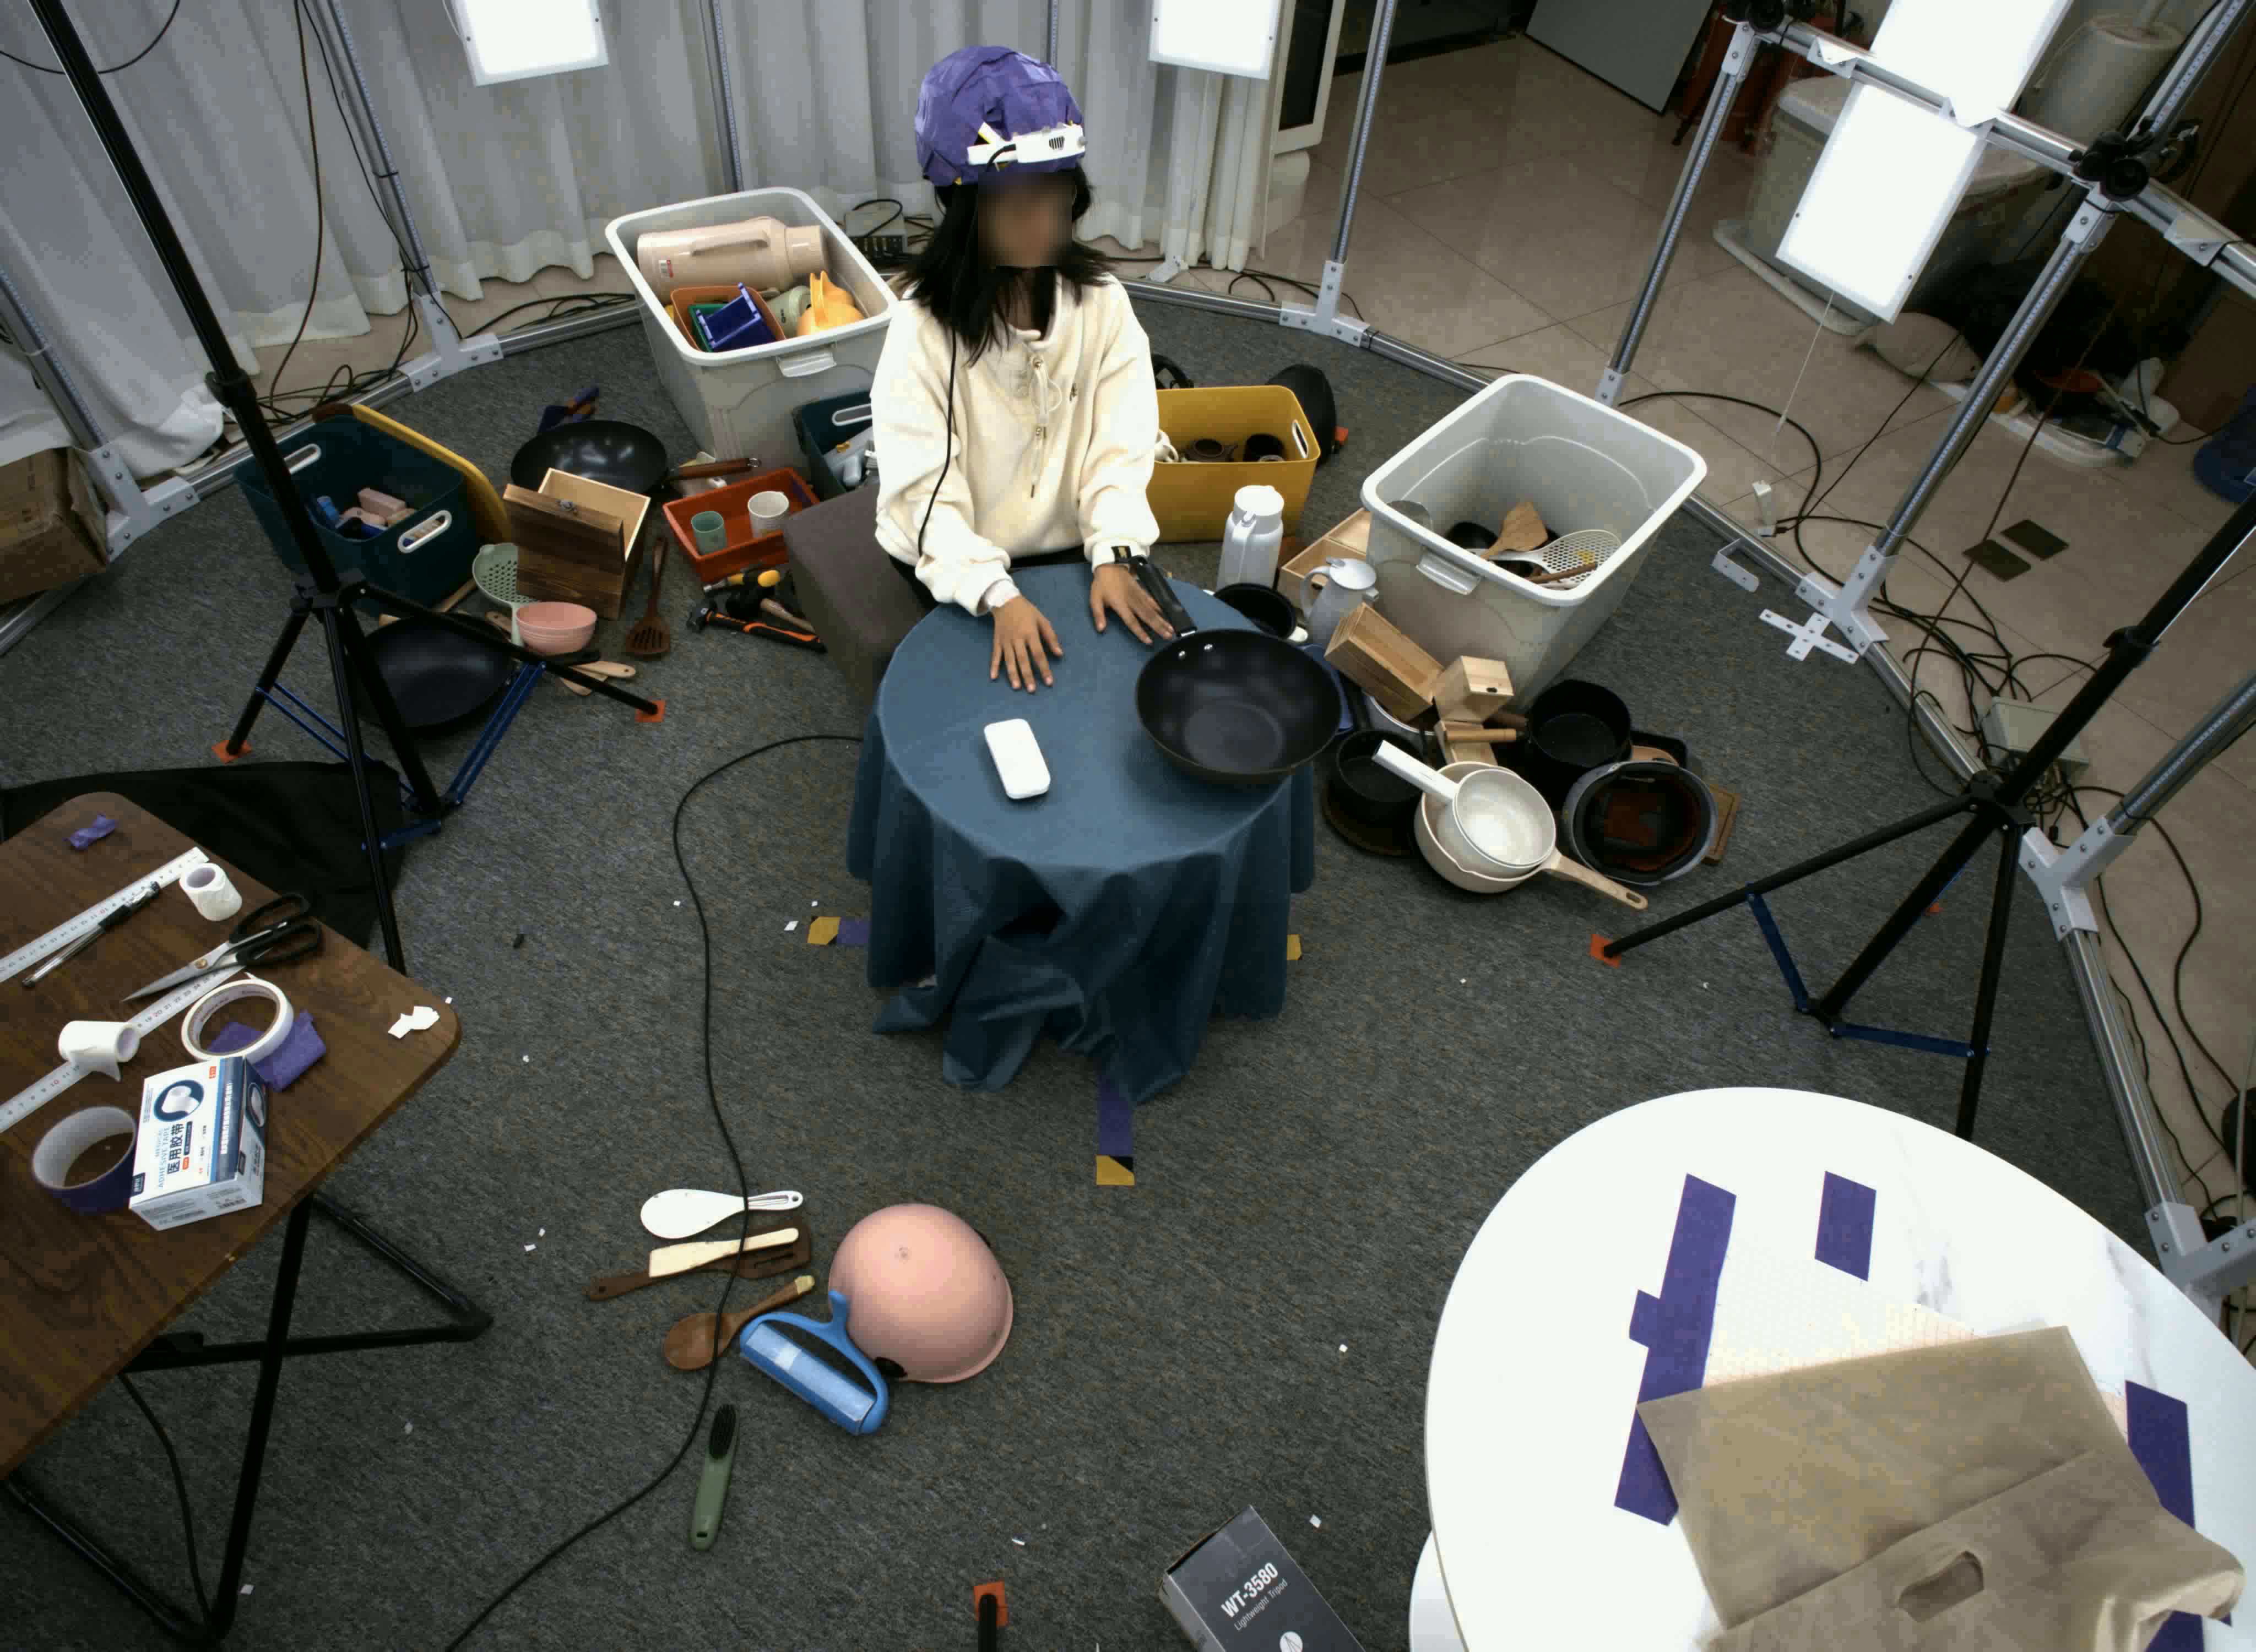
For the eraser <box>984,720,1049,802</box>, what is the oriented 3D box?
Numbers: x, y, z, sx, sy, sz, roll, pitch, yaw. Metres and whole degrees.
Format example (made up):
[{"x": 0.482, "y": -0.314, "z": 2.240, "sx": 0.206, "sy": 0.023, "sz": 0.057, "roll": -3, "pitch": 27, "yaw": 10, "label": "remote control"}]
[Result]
[{"x": -0.149, "y": -0.090, "z": 1.719, "sx": 0.063, "sy": 0.034, "sz": 0.134, "roll": -11, "pitch": 51, "yaw": -17, "label": "eraser"}]

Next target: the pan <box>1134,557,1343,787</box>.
[{"x": 0.109, "y": -0.213, "z": 1.809, "sx": 0.288, "sy": 0.085, "sz": 0.474, "roll": -16, "pitch": 51, "yaw": -18, "label": "pan"}]
